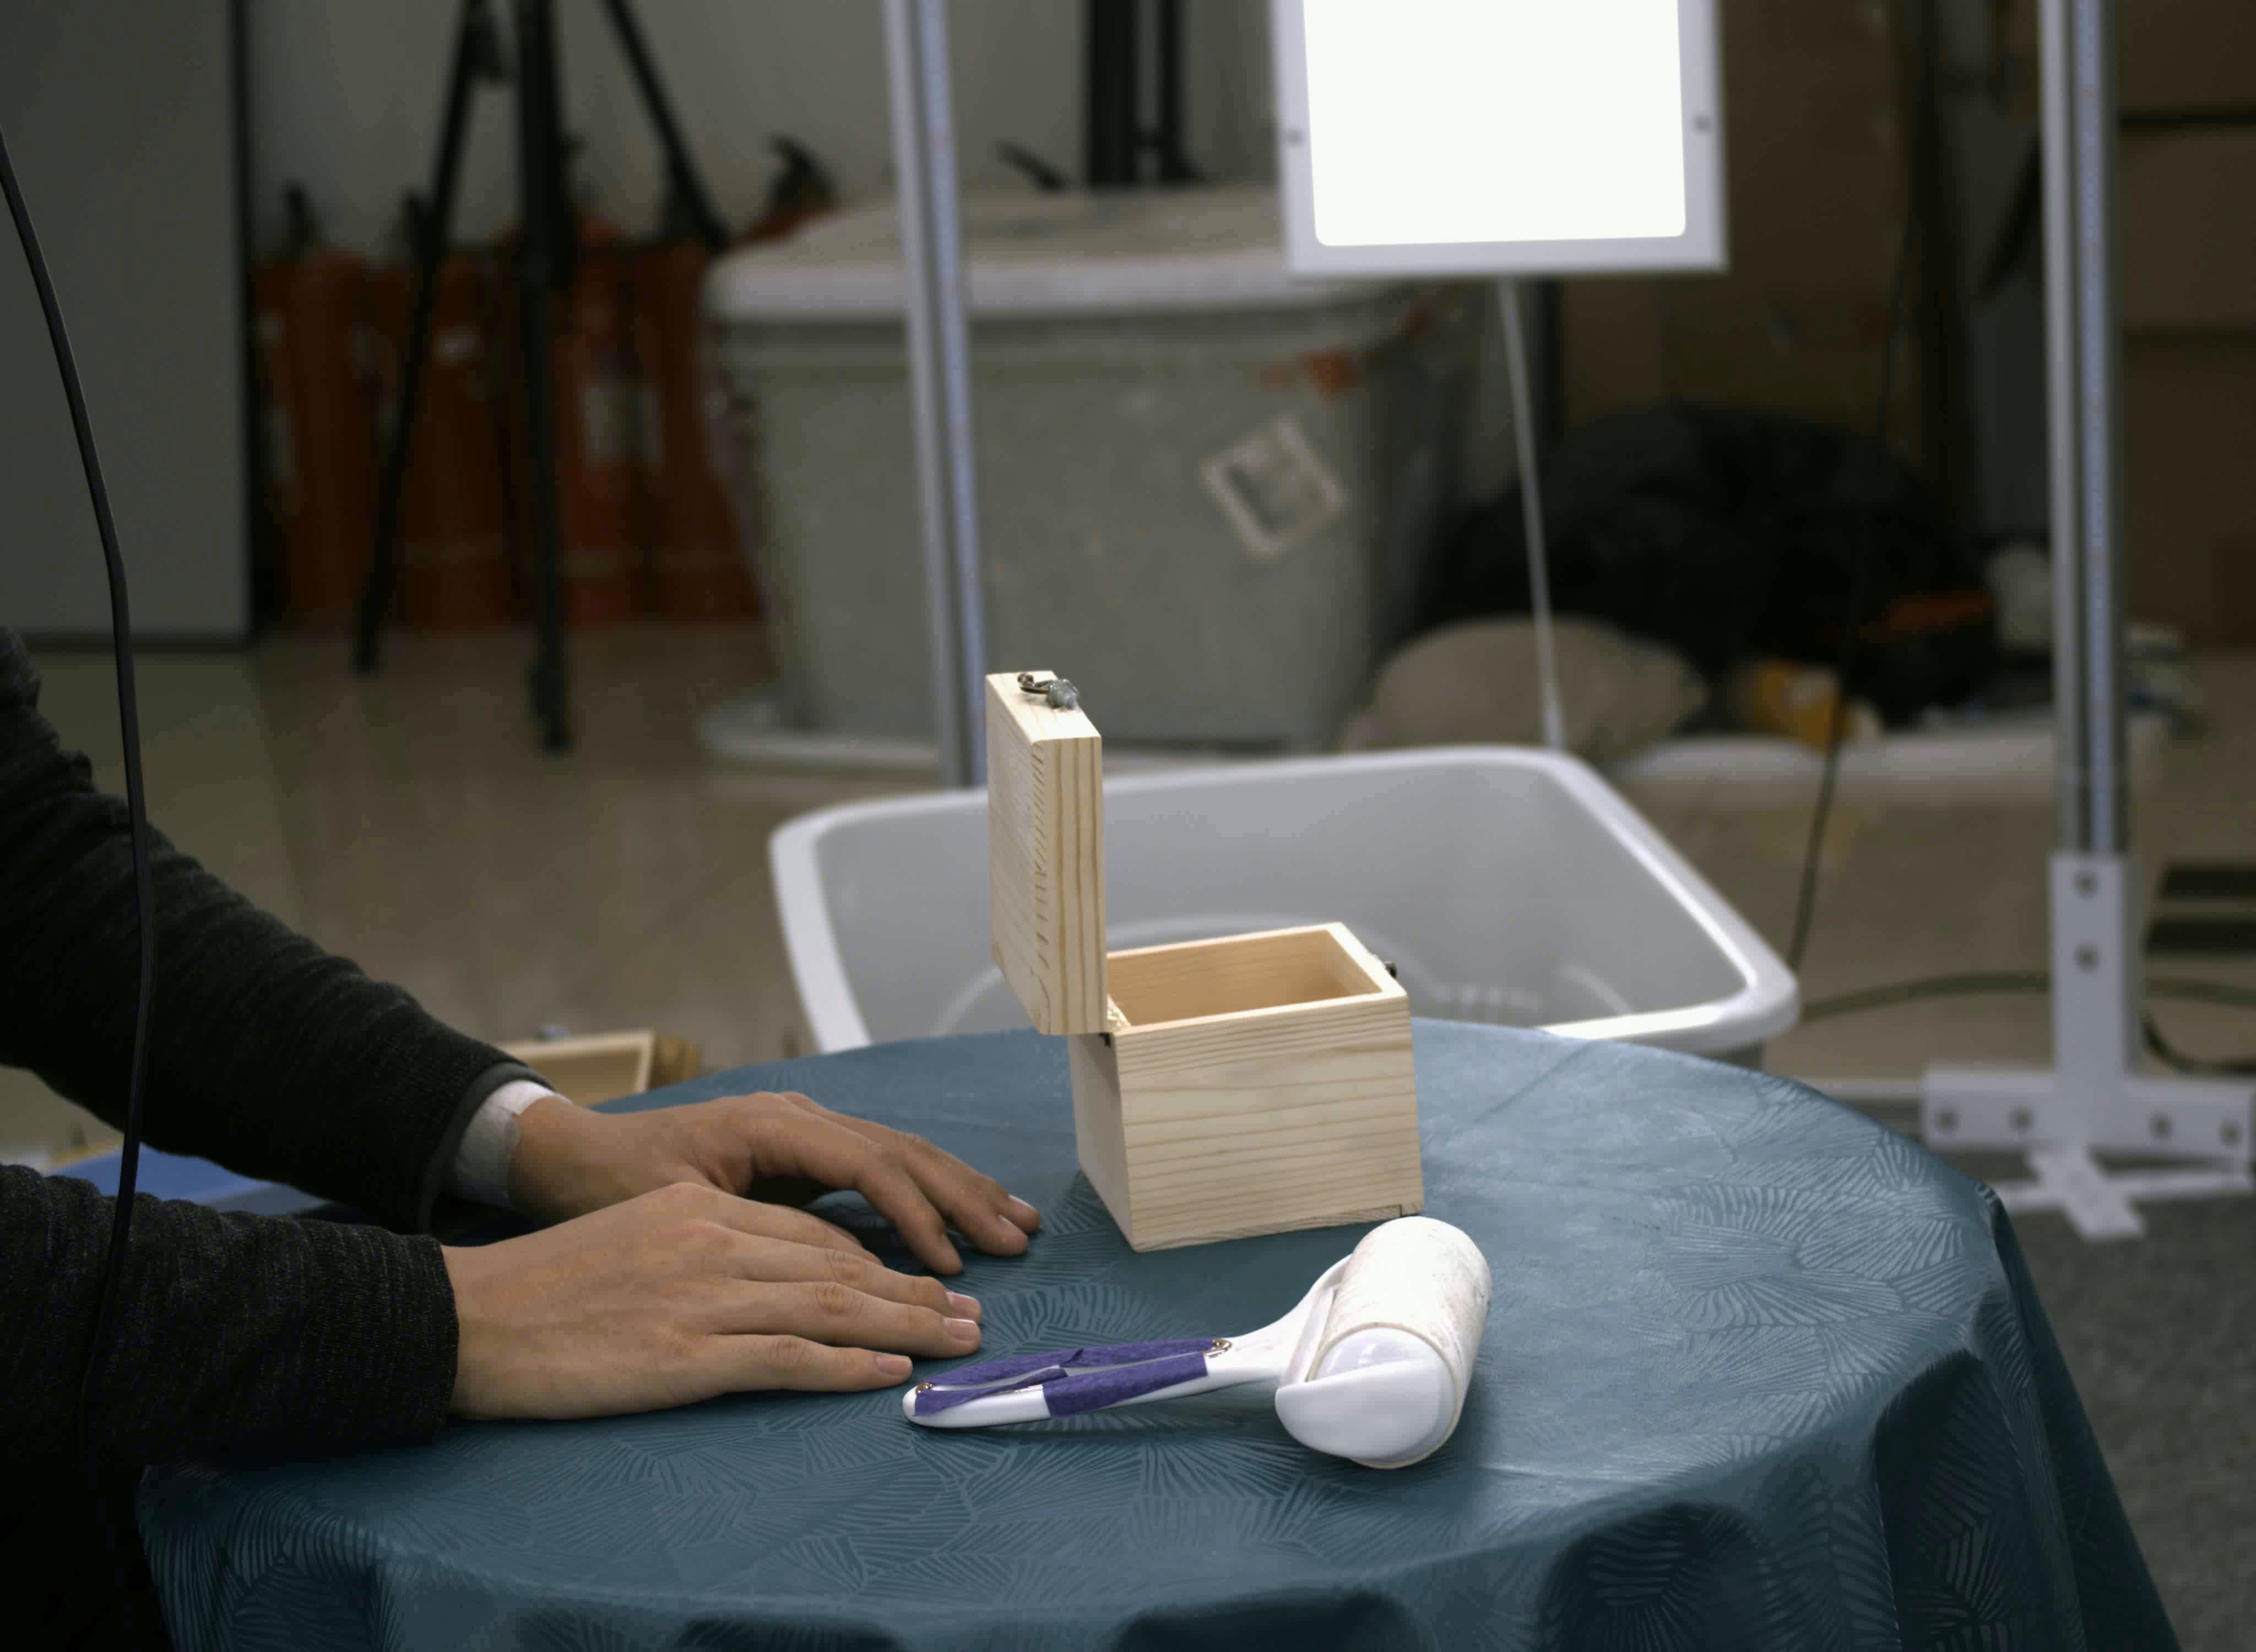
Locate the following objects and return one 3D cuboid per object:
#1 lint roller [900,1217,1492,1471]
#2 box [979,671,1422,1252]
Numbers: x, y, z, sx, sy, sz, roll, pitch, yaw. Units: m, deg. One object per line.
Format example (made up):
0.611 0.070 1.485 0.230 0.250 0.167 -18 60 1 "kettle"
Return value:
0.019 0.156 1.671 0.182 0.050 0.131 0 16 13 "lint roller"
0.025 0.038 1.864 0.133 0.185 0.103 -7 14 -8 "box"
